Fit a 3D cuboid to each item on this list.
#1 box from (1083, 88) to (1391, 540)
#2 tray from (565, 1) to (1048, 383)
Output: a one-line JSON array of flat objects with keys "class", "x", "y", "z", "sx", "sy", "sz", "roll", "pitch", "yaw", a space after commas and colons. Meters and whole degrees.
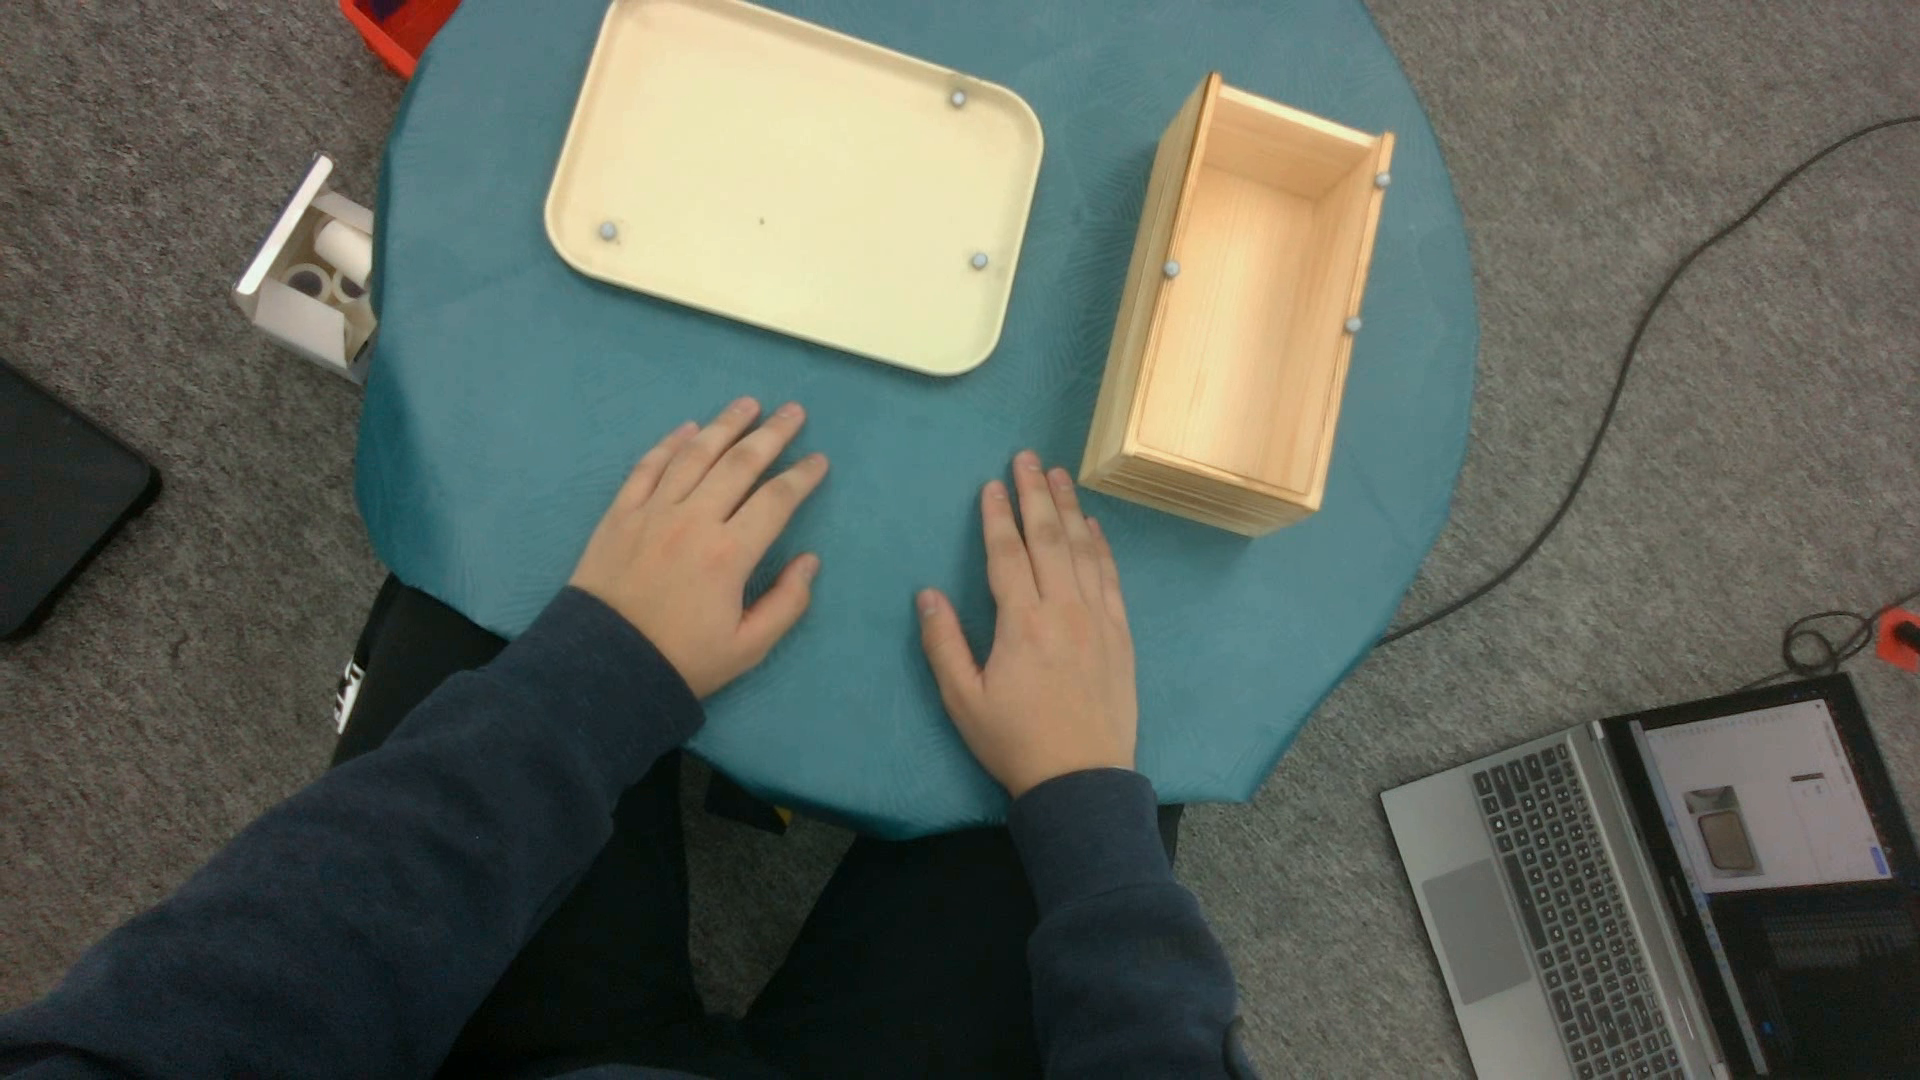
[{"class": "box", "x": 0.148, "y": -0.119, "z": 0.743, "sx": 0.107, "sy": 0.080, "sz": 0.212, "roll": 16, "pitch": 77, "yaw": -7}, {"class": "tray", "x": -0.078, "y": -0.186, "z": 0.744, "sx": 0.240, "sy": 0.017, "sz": 0.171, "roll": 15, "pitch": 78, "yaw": -8}]
